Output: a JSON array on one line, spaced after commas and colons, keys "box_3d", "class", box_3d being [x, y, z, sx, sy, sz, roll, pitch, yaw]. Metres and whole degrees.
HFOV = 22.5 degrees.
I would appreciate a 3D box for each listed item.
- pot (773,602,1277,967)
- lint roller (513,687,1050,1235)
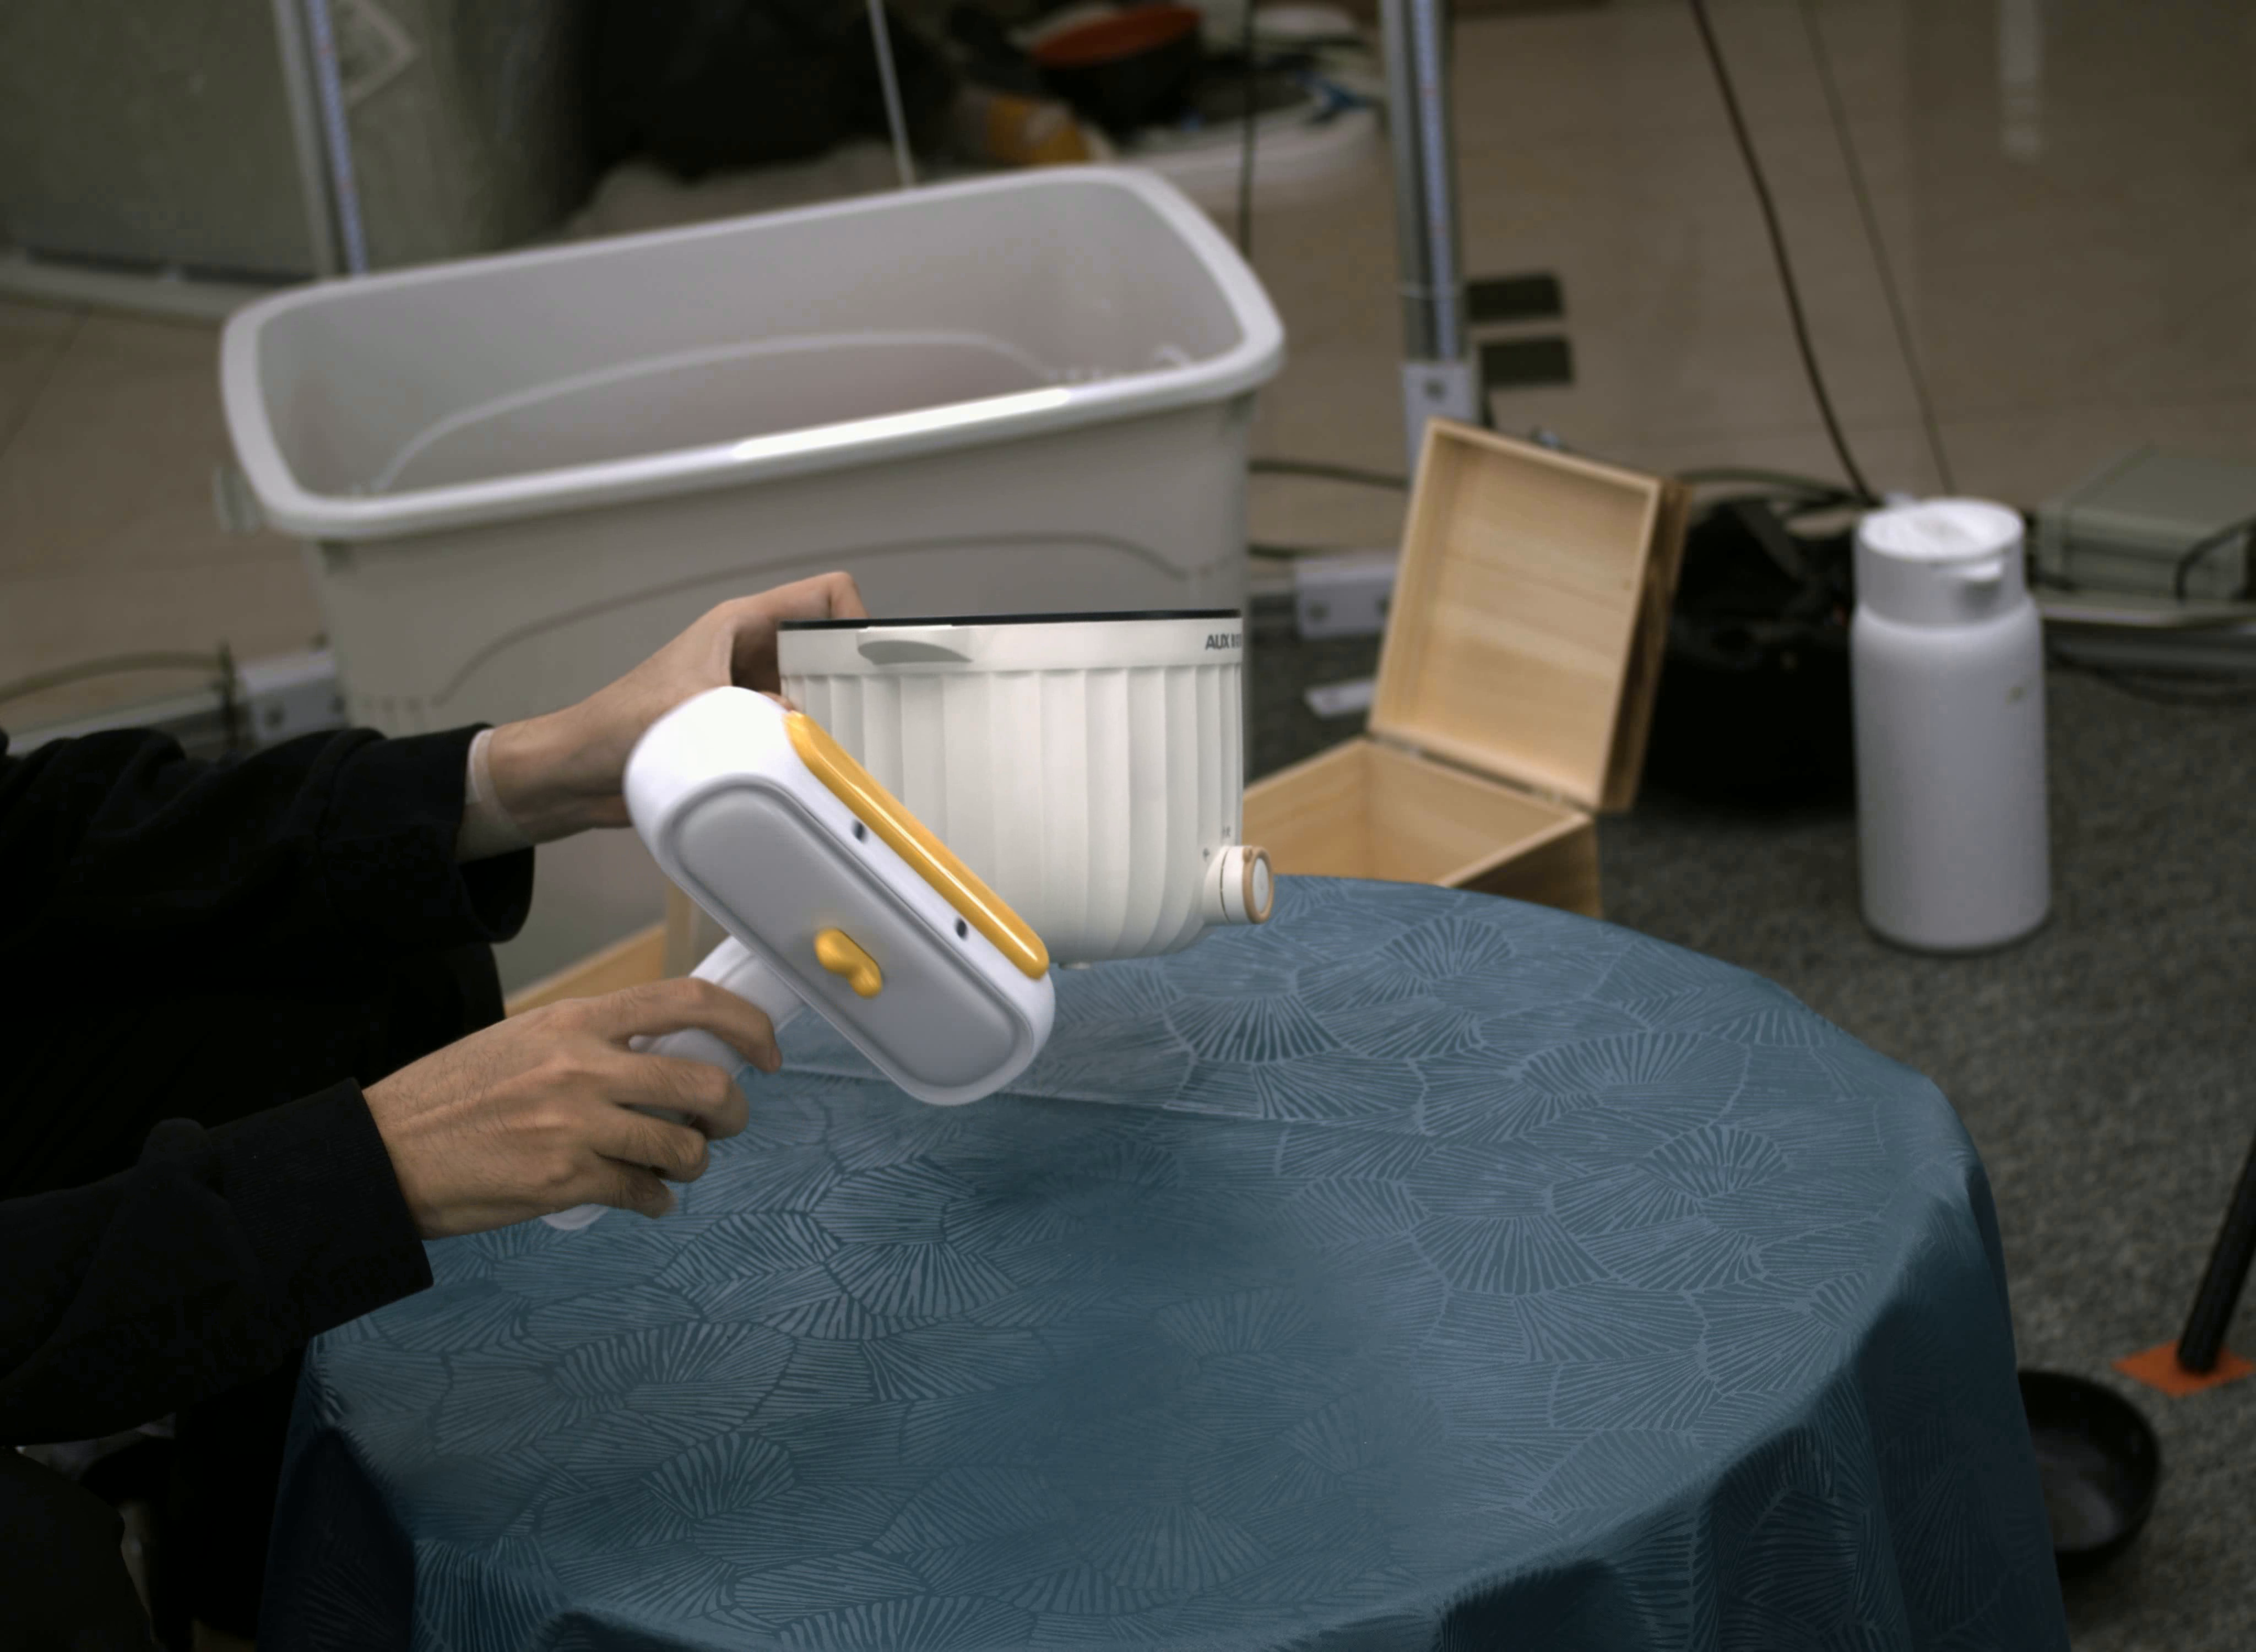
[{"box_3d": [-0.039, -0.017, 2.191, 0.190, 0.143, 0.239, -4, 3, 20], "class": "pot"}, {"box_3d": [-0.144, 0.065, 1.986, 0.193, 0.195, 0.073, -39, 40, 14], "class": "lint roller"}]
